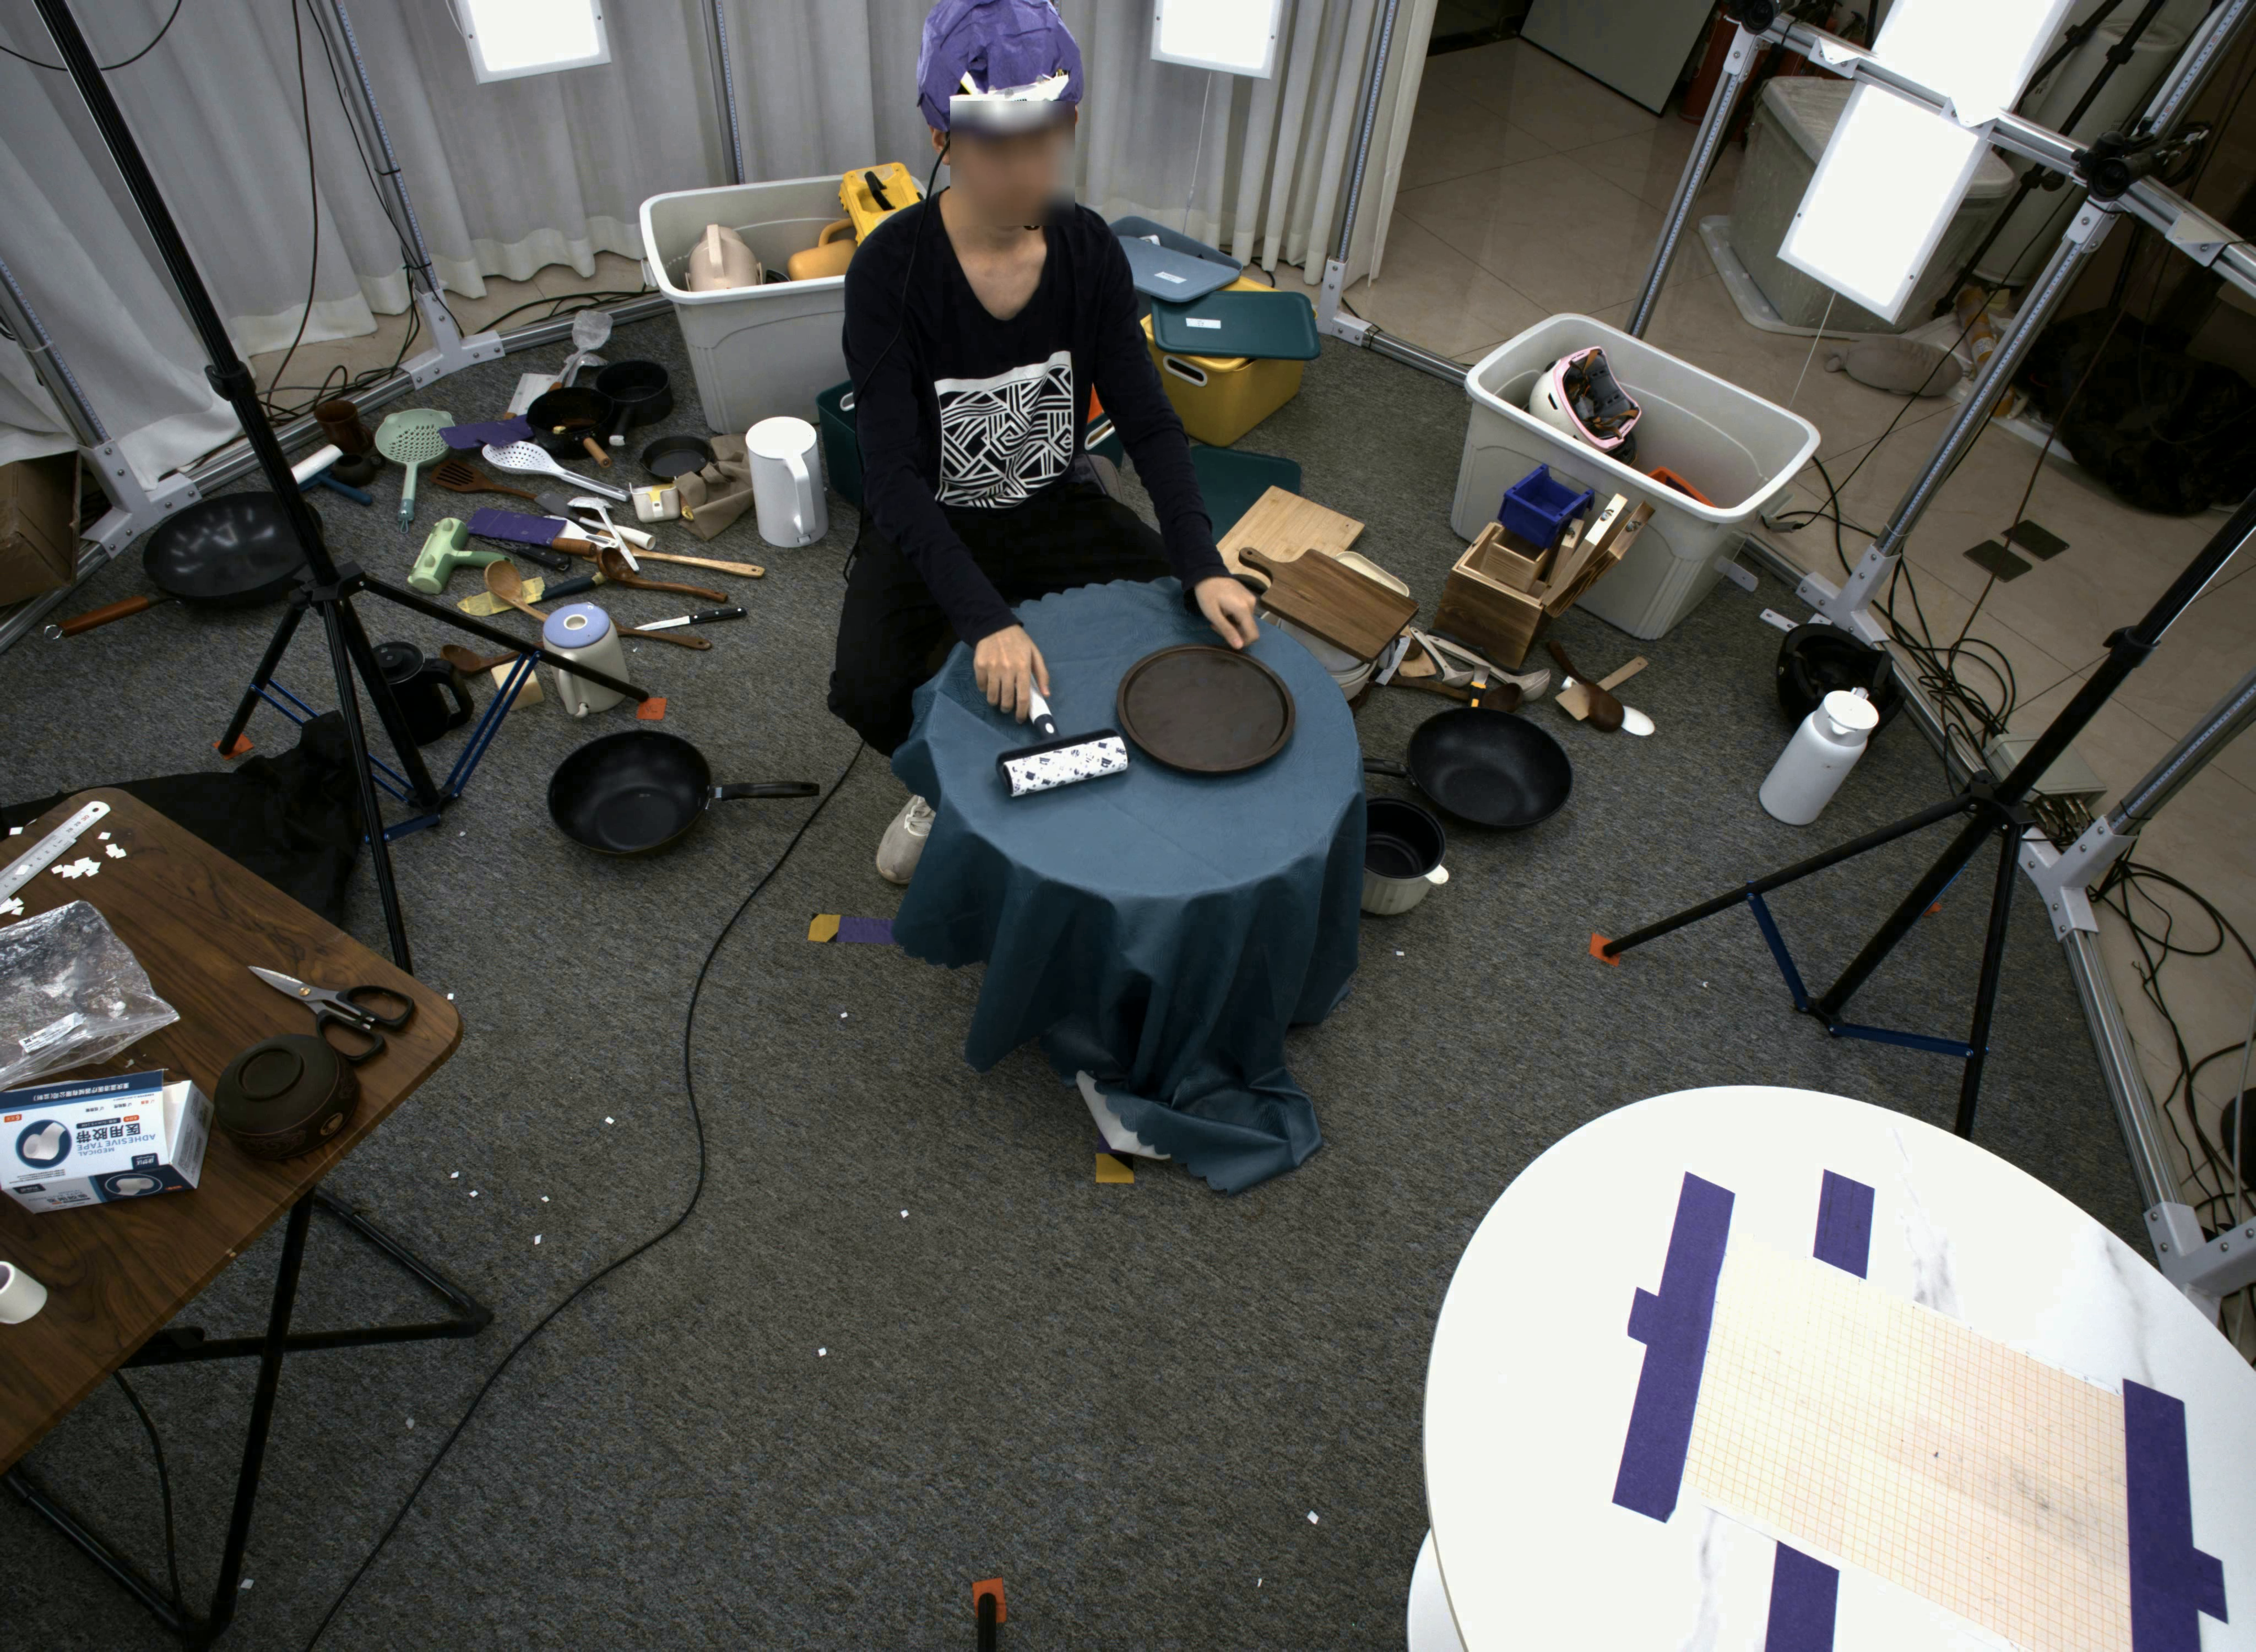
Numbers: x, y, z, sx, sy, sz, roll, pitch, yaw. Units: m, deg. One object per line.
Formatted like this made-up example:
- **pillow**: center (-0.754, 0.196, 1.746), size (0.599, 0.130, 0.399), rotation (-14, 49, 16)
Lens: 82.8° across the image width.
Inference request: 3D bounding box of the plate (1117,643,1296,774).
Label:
- **plate**: center (0.110, -0.166, 1.805), size (0.254, 0.028, 0.261), rotation (1, 47, -2)

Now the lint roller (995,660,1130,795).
- **lint roller**: center (-0.121, -0.153, 1.765), size (0.176, 0.049, 0.253), rotation (-15, 50, -15)
